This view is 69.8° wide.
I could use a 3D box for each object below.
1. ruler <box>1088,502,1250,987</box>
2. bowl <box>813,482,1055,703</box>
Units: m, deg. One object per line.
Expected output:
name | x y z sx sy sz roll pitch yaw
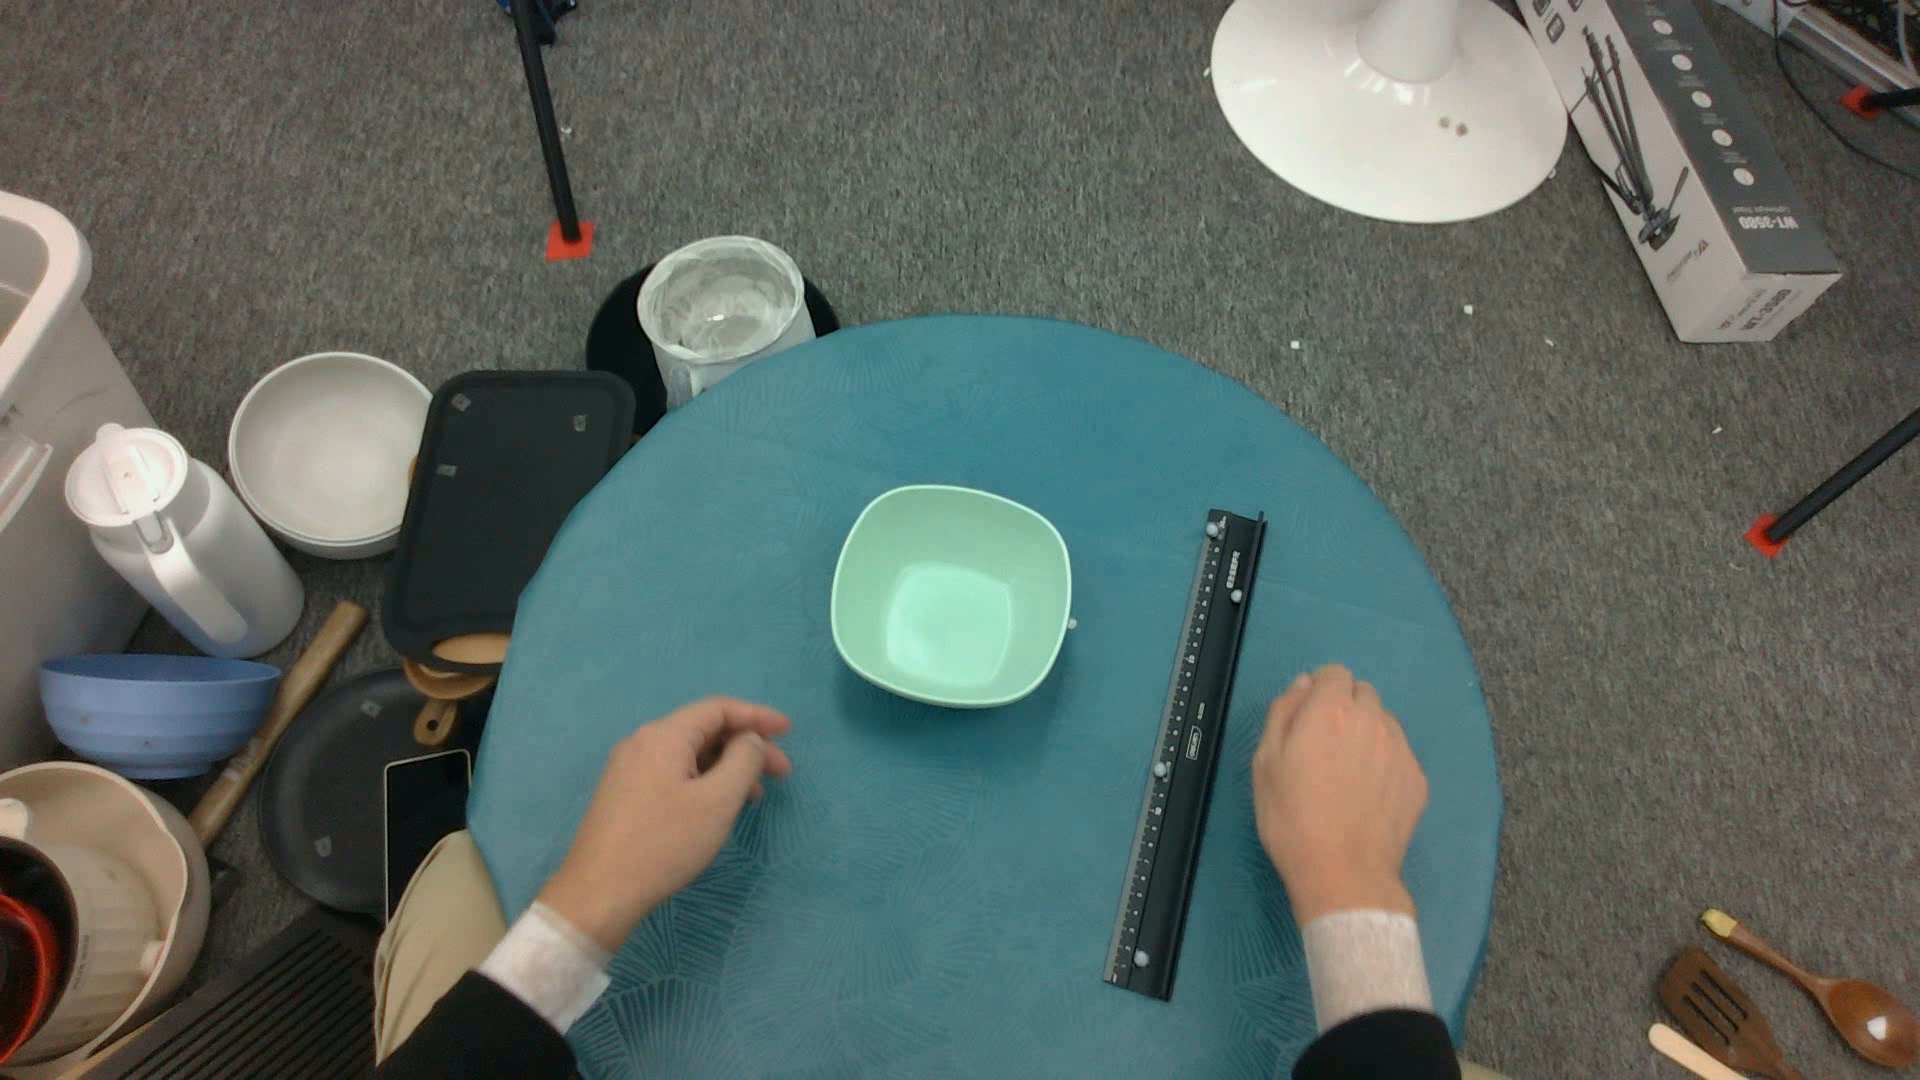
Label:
ruler | 0.130 0.106 0.822 0.039 0.017 0.314 15 61 6
bowl | -0.017 0.040 0.821 0.151 0.058 0.152 3 60 -5
